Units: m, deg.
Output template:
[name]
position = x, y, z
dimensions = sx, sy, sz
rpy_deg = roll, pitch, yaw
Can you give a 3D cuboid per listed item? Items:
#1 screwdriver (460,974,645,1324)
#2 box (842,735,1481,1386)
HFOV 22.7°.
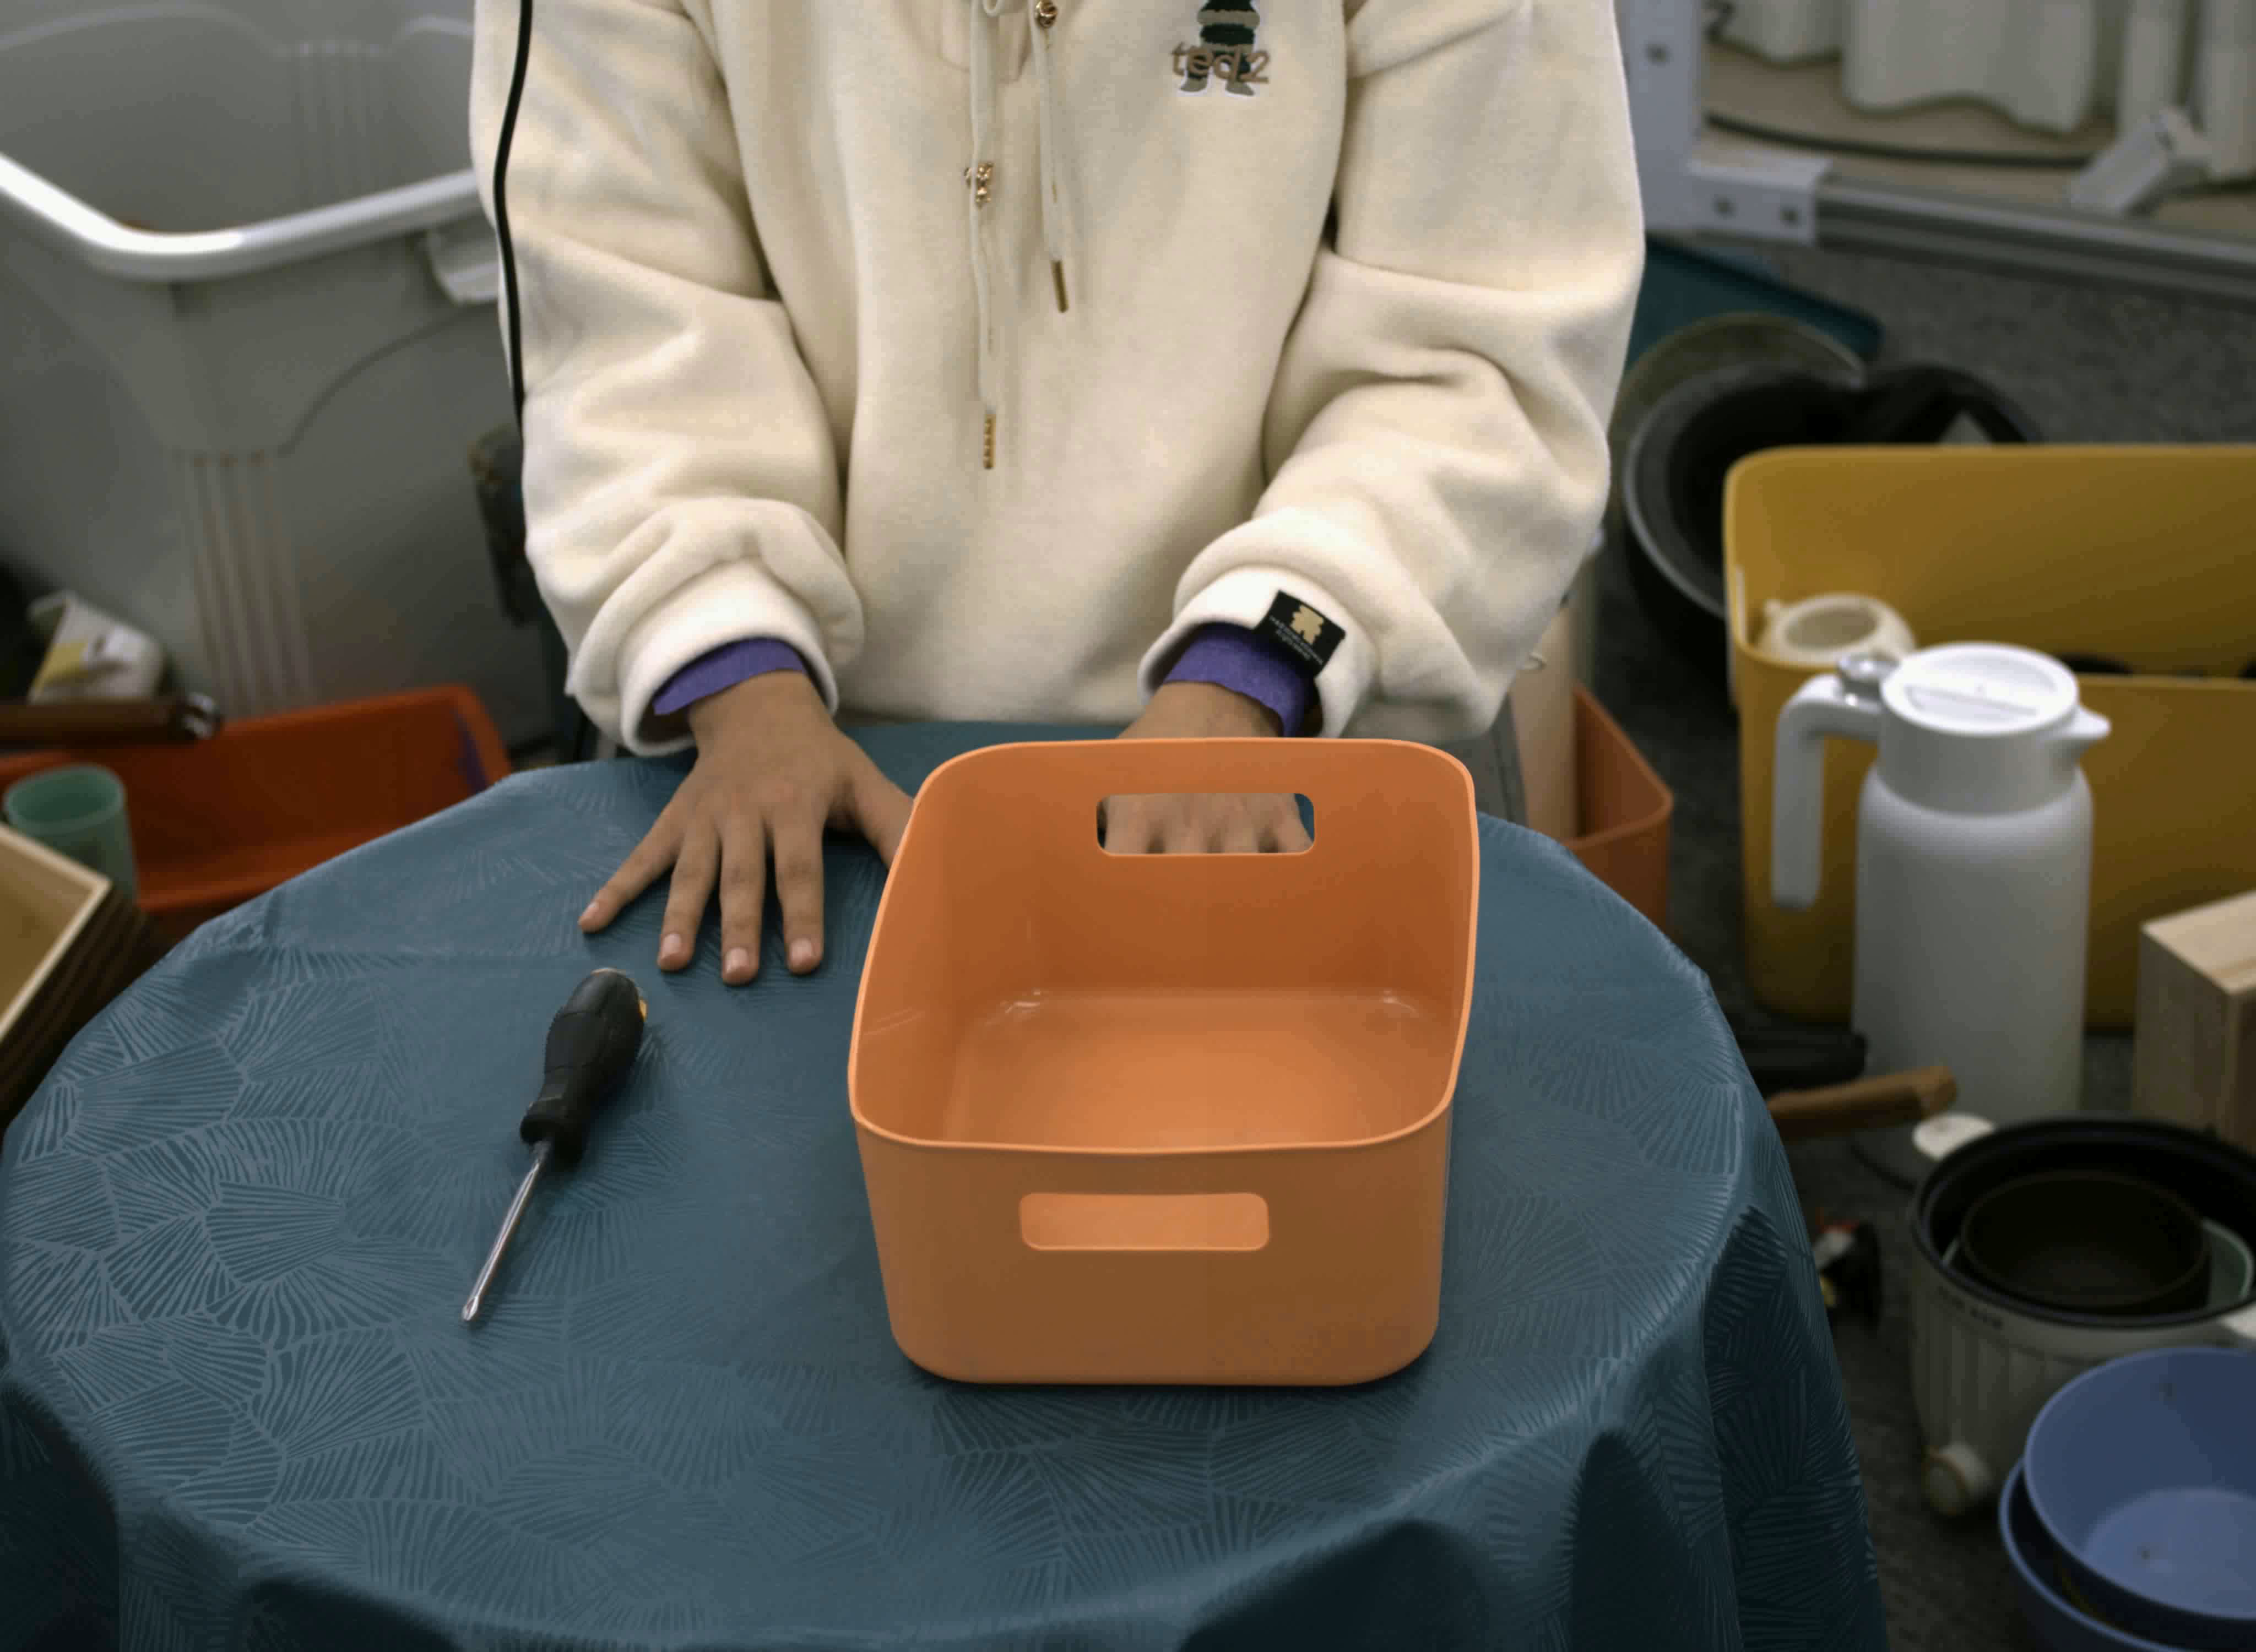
[screwdriver]
position = -0.198, 0.111, 1.883
dimensions = 0.031, 0.031, 0.200
rpy_deg = 4, 33, 12
[box]
position = 0.018, 0.076, 1.835
dimensions = 0.198, 0.101, 0.277
rpy_deg = -1, 27, 5
